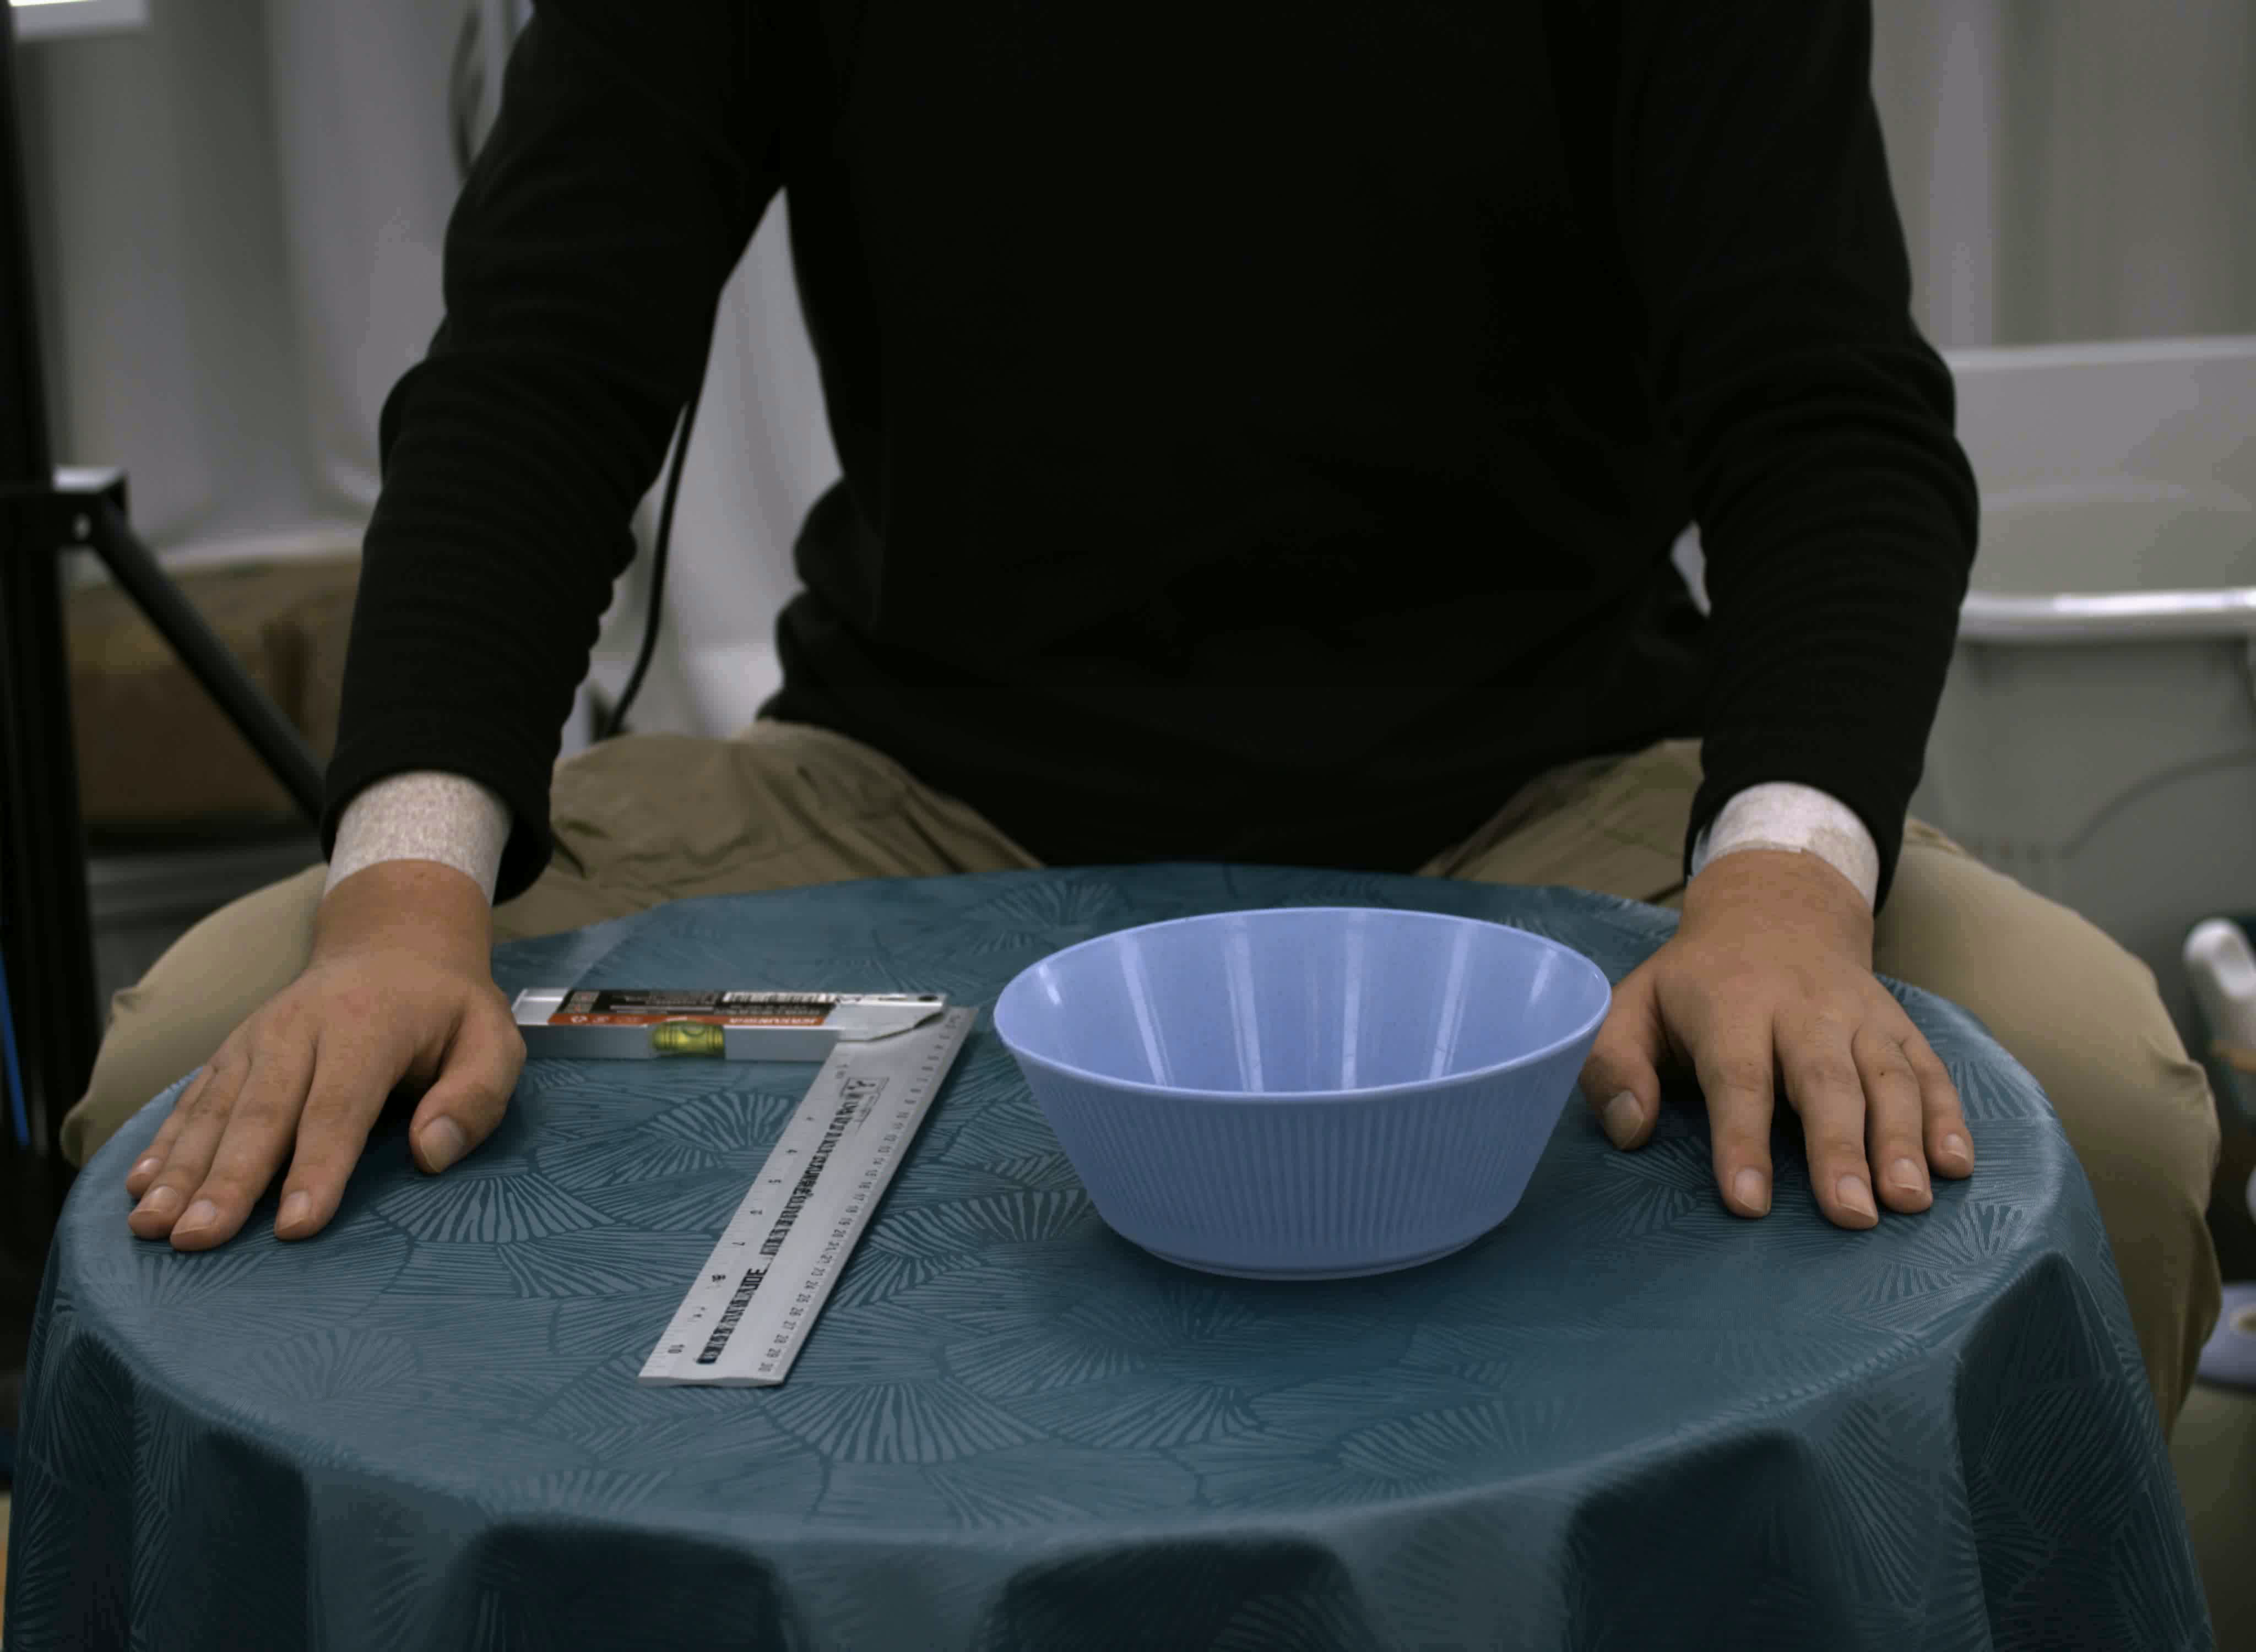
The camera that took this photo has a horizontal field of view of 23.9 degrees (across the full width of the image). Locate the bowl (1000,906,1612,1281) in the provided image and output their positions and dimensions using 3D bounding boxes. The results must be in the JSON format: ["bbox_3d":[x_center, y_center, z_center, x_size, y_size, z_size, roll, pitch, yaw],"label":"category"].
[{"bbox_3d":[0.052,0.080,1.522,0.175,0.070,0.177,-3,16,-1],"label":"bowl"}]

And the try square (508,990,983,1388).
[{"bbox_3d":[-0.142,0.107,1.583,0.153,0.016,0.312,-4,16,10],"label":"try square"}]
